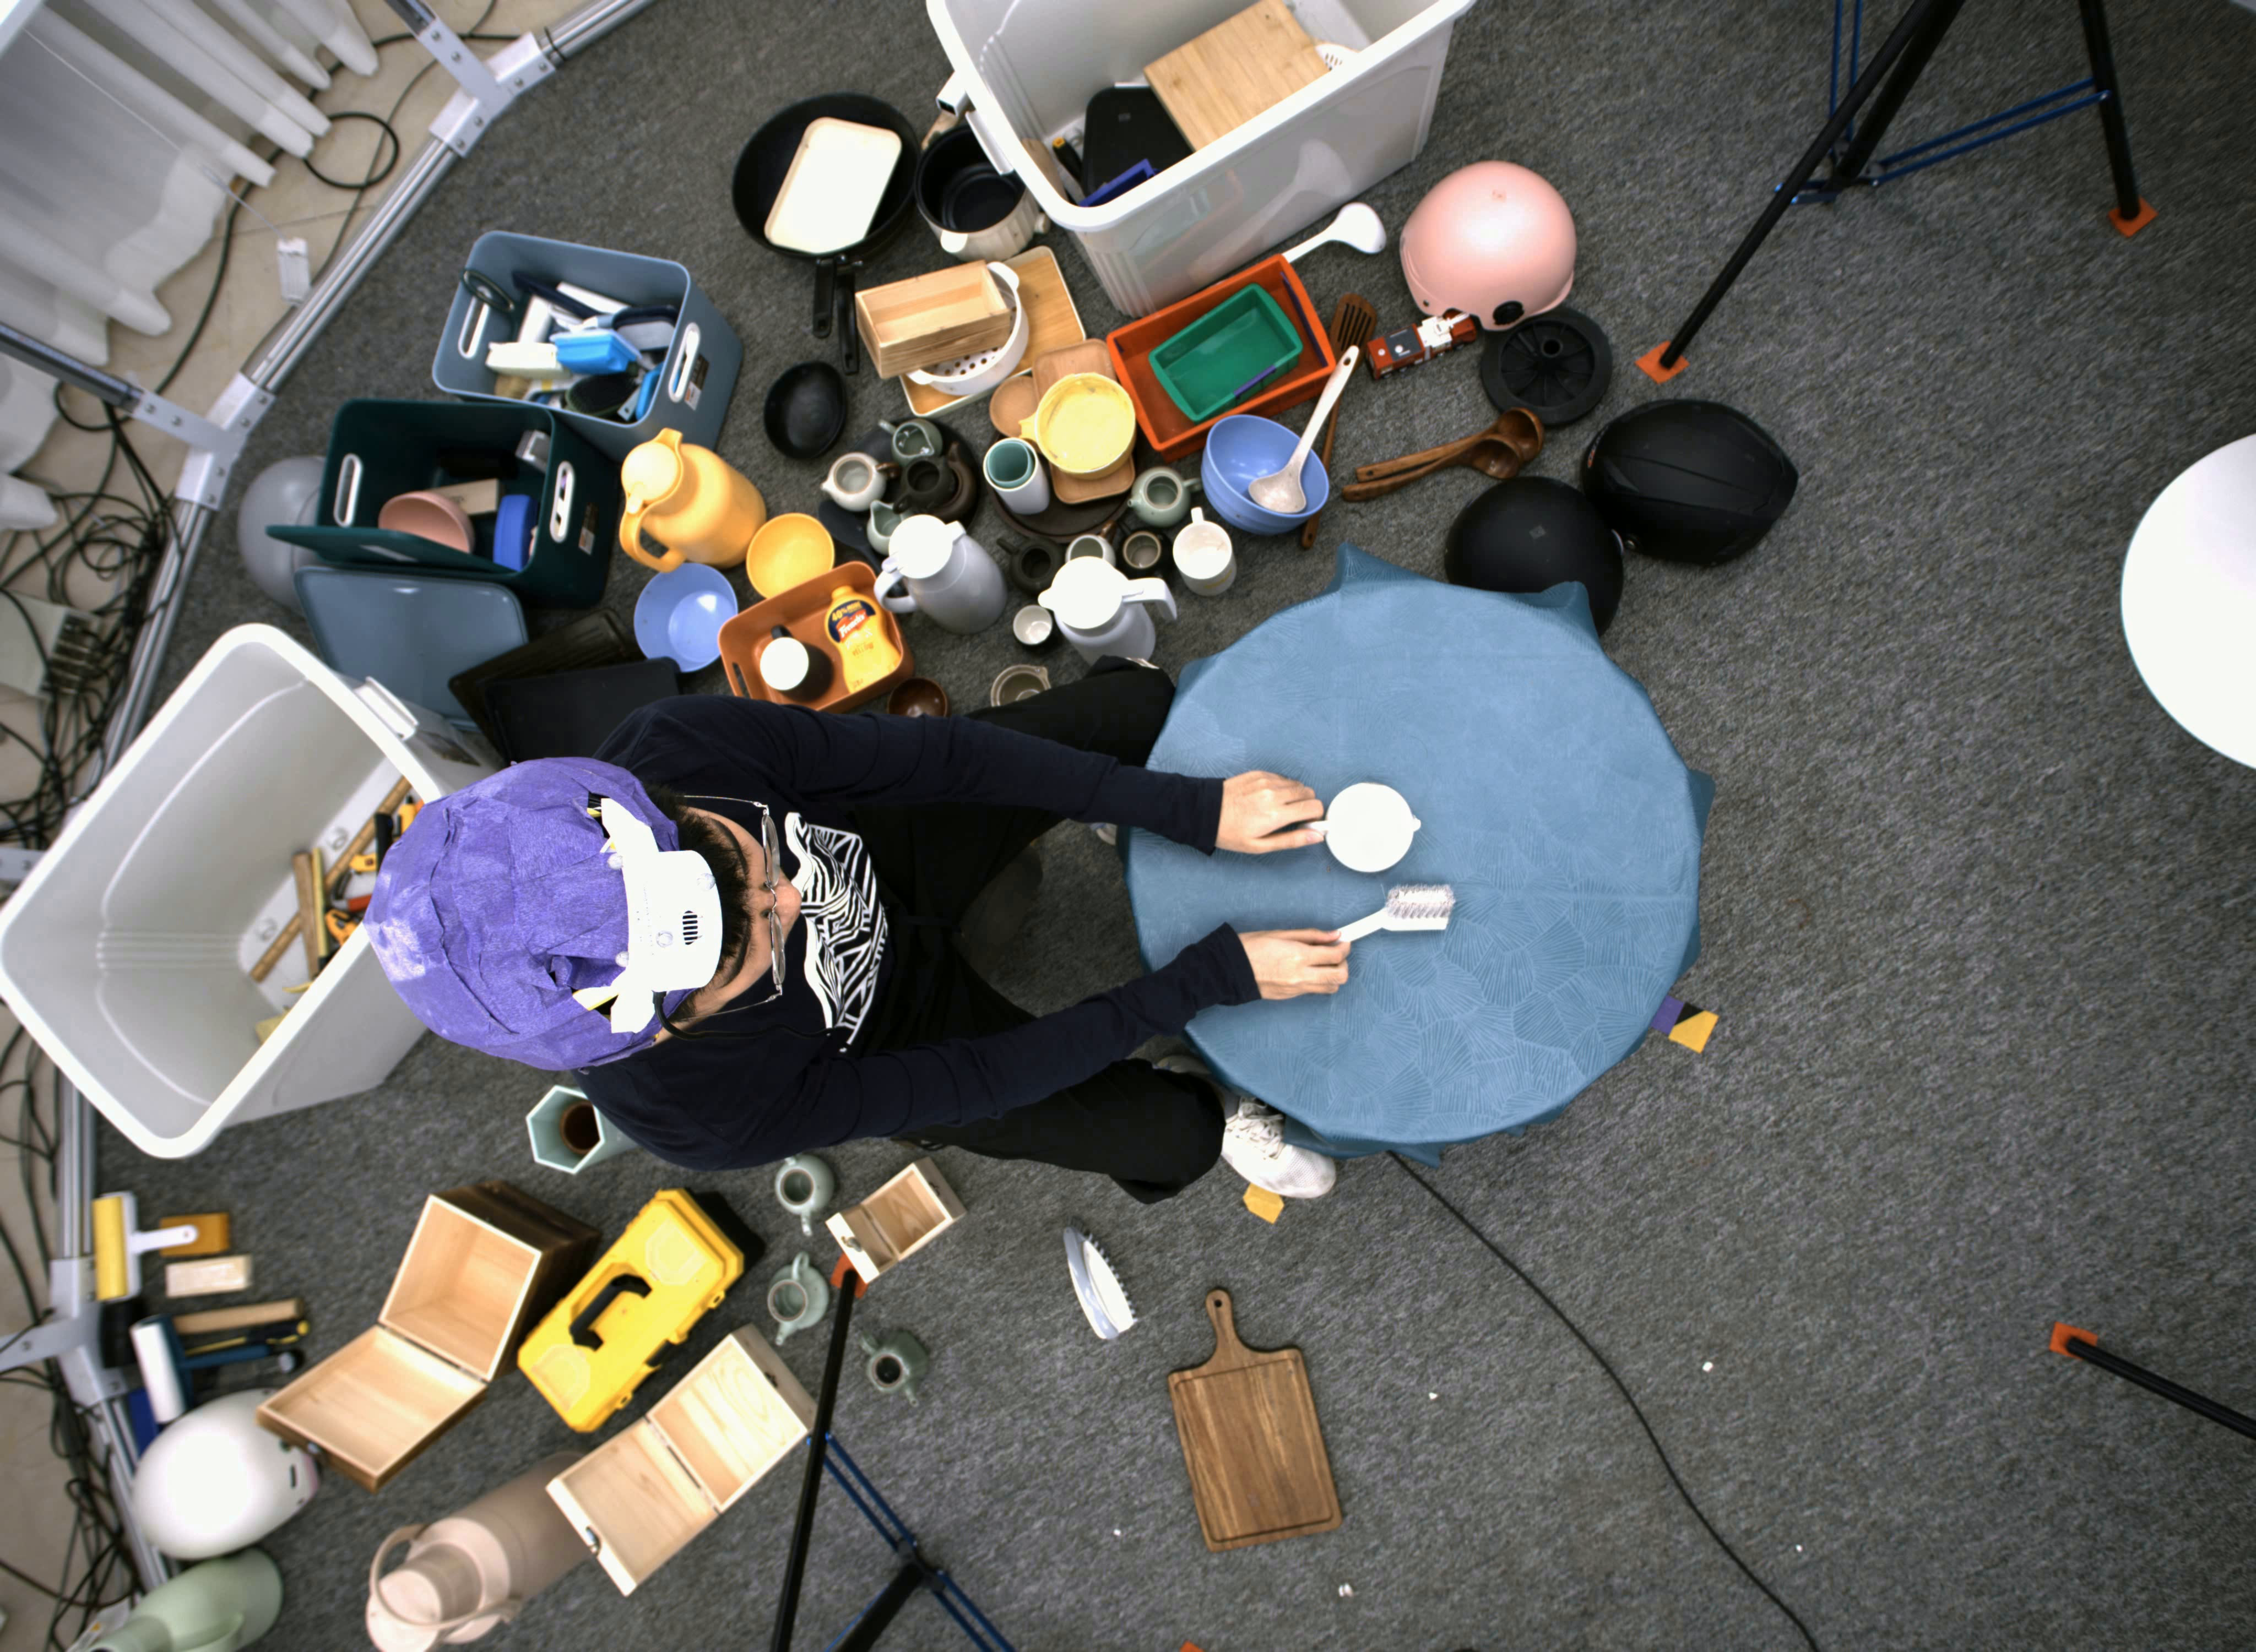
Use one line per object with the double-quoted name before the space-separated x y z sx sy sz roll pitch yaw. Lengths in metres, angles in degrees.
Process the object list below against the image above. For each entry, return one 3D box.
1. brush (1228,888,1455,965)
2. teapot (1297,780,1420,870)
"brush" 0.218 0.103 1.442 0.245 0.051 0.033 -12 46 12
"teapot" 0.241 -0.001 1.441 0.128 0.056 0.093 -5 91 12
